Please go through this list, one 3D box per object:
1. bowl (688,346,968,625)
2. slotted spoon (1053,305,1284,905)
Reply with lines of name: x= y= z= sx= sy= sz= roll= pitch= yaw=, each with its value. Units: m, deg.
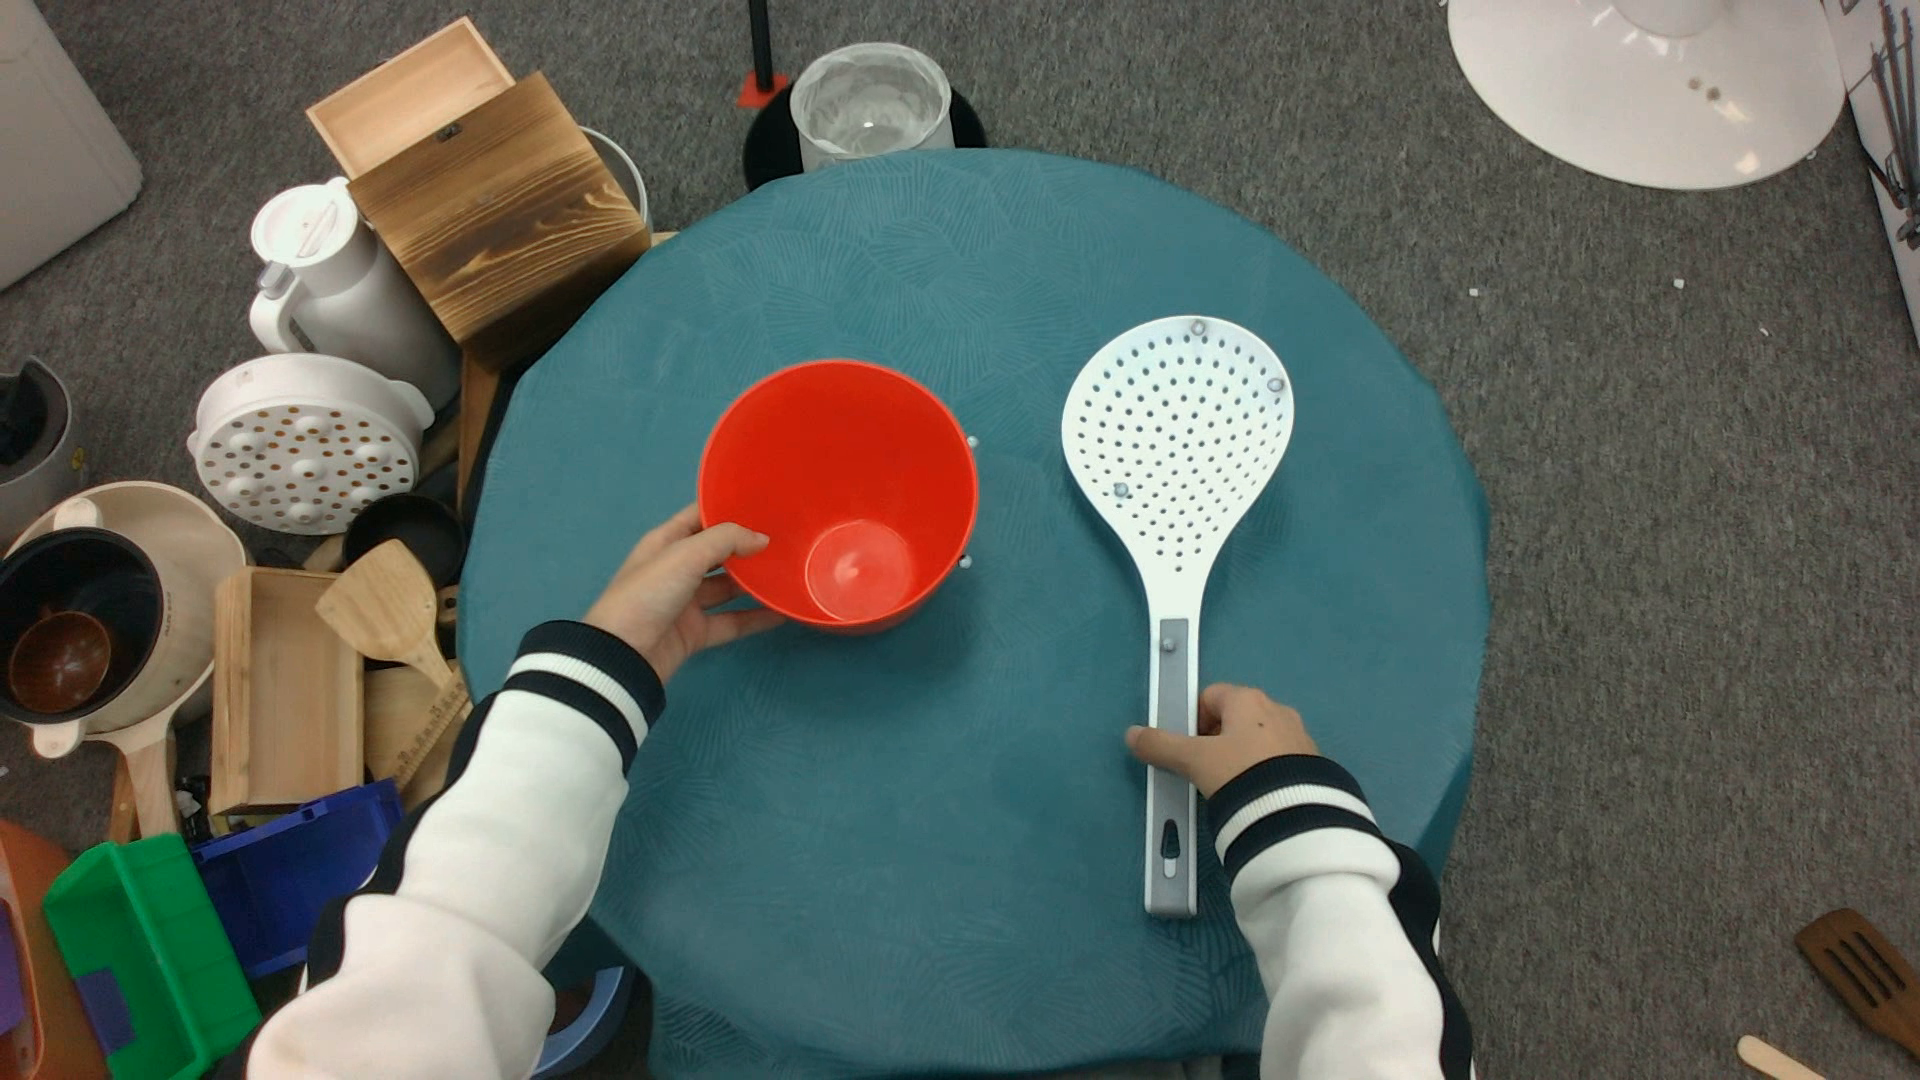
bowl: x=-0.071 y=-0.017 z=0.763 sx=0.148 sy=0.104 sz=0.148 roll=2 pitch=63 yaw=-3
slotted spoon: x=0.114 y=0.024 z=0.771 sx=0.136 sy=0.045 sz=0.351 roll=-3 pitch=62 yaw=18
